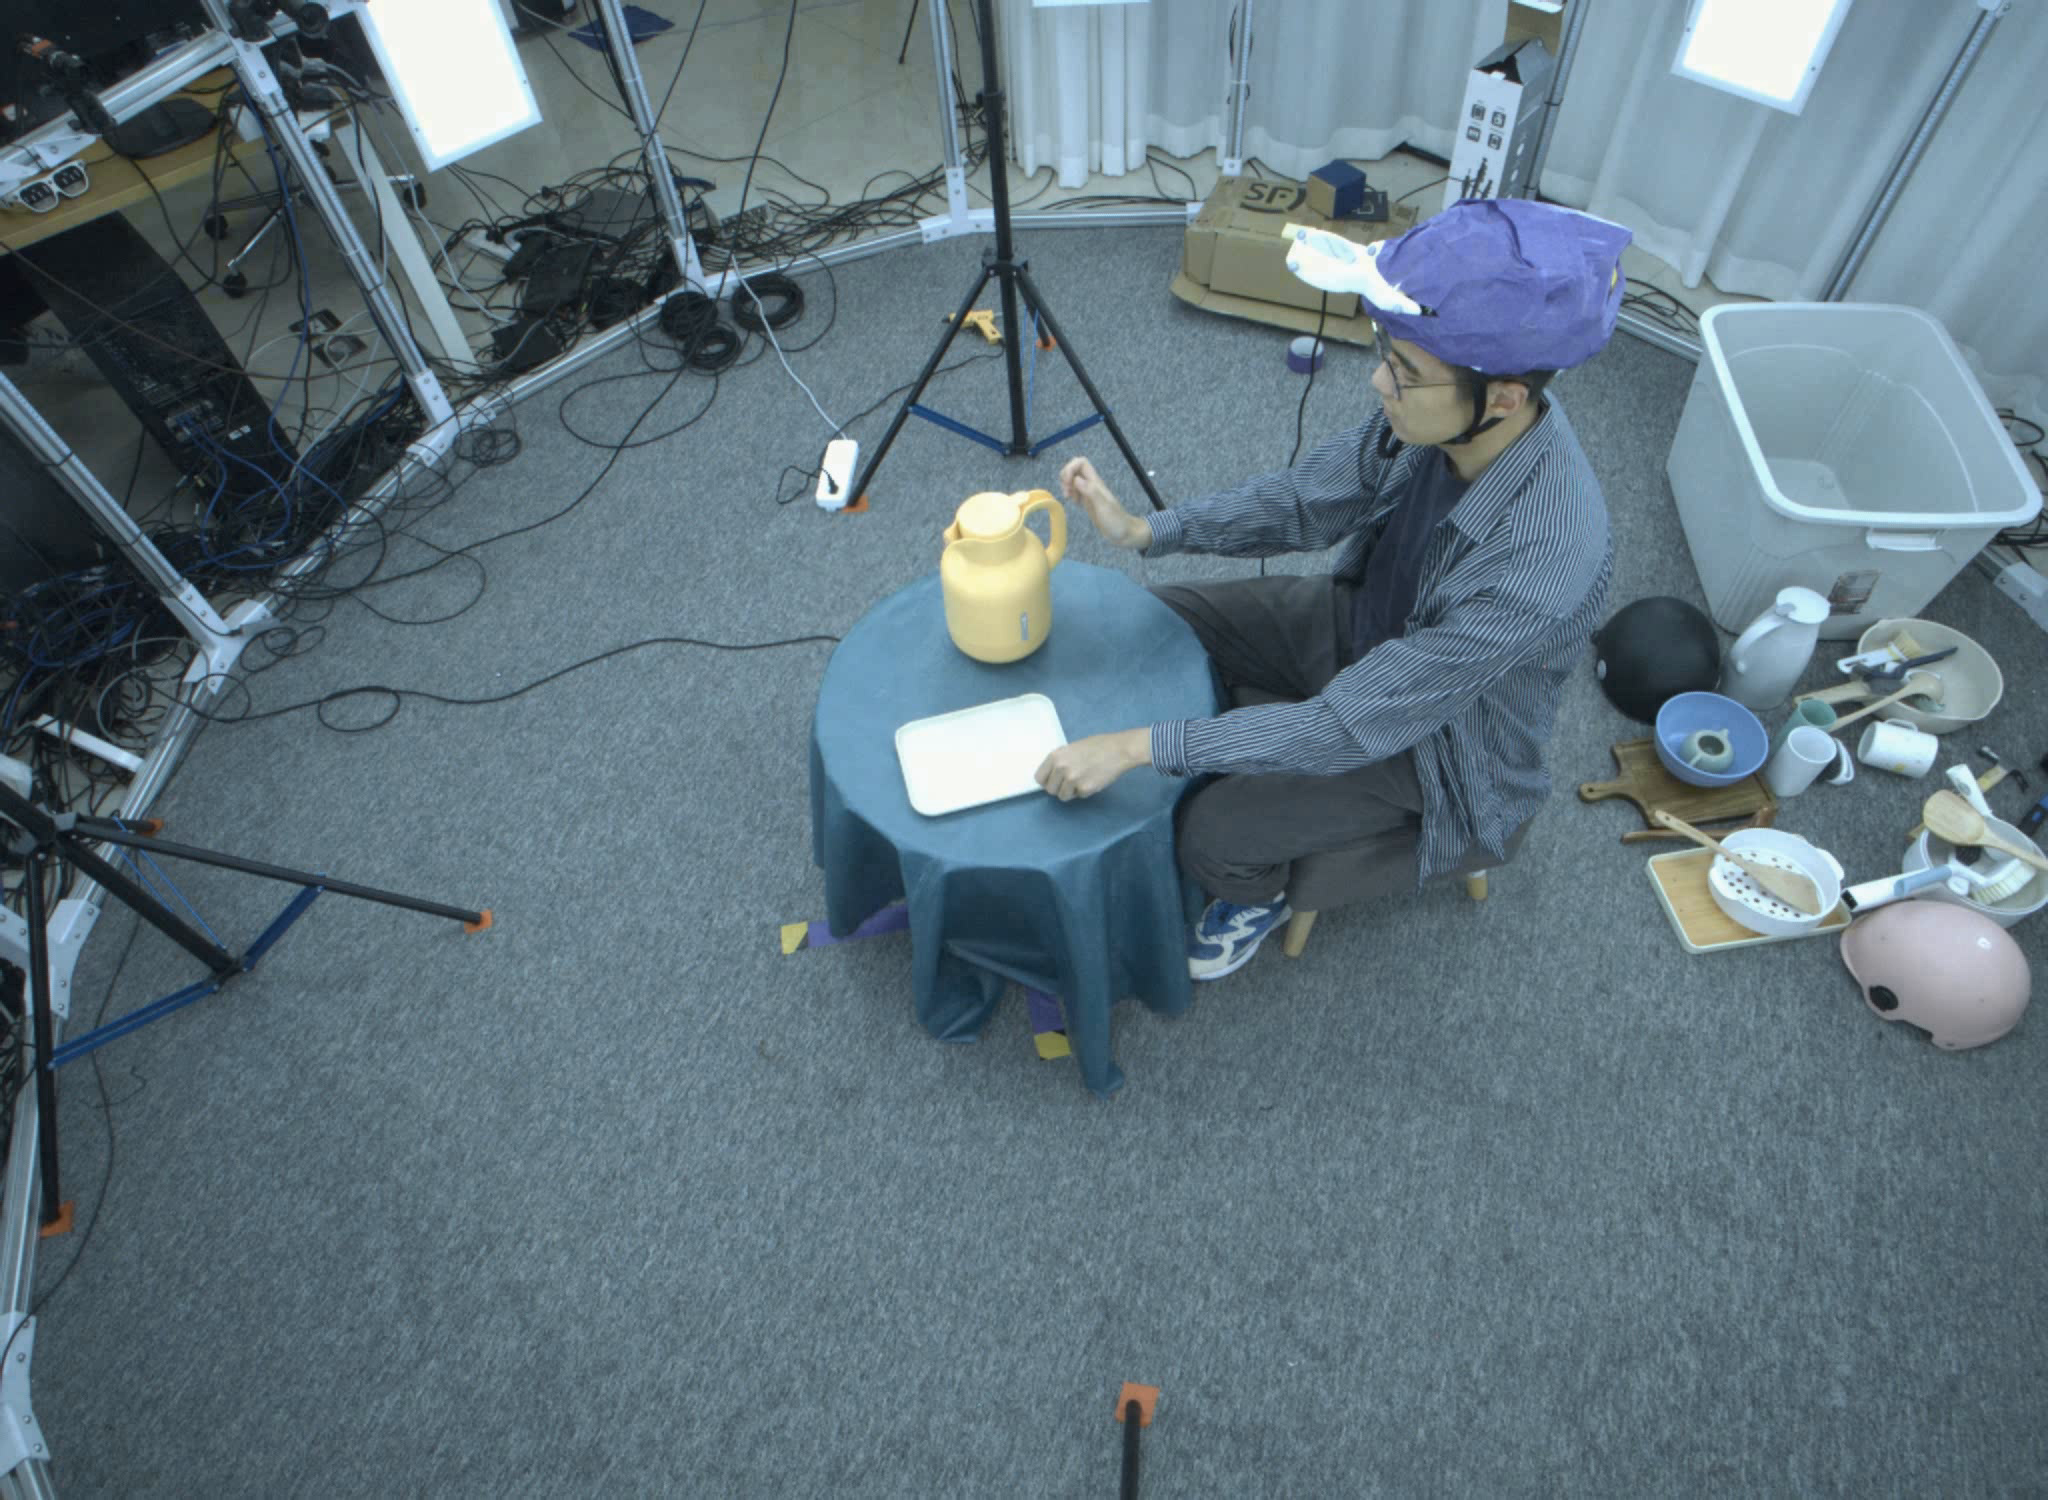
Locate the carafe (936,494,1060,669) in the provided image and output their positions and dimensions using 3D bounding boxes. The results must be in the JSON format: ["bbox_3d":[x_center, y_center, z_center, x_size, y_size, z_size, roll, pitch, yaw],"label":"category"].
[{"bbox_3d":[-0.032,-0.259,1.817,0.204,0.263,0.160,-32,61,-19],"label":"carafe"}]

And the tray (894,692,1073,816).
[{"bbox_3d":[-0.059,0.006,1.779,0.241,0.017,0.168,-14,56,-8],"label":"tray"}]
